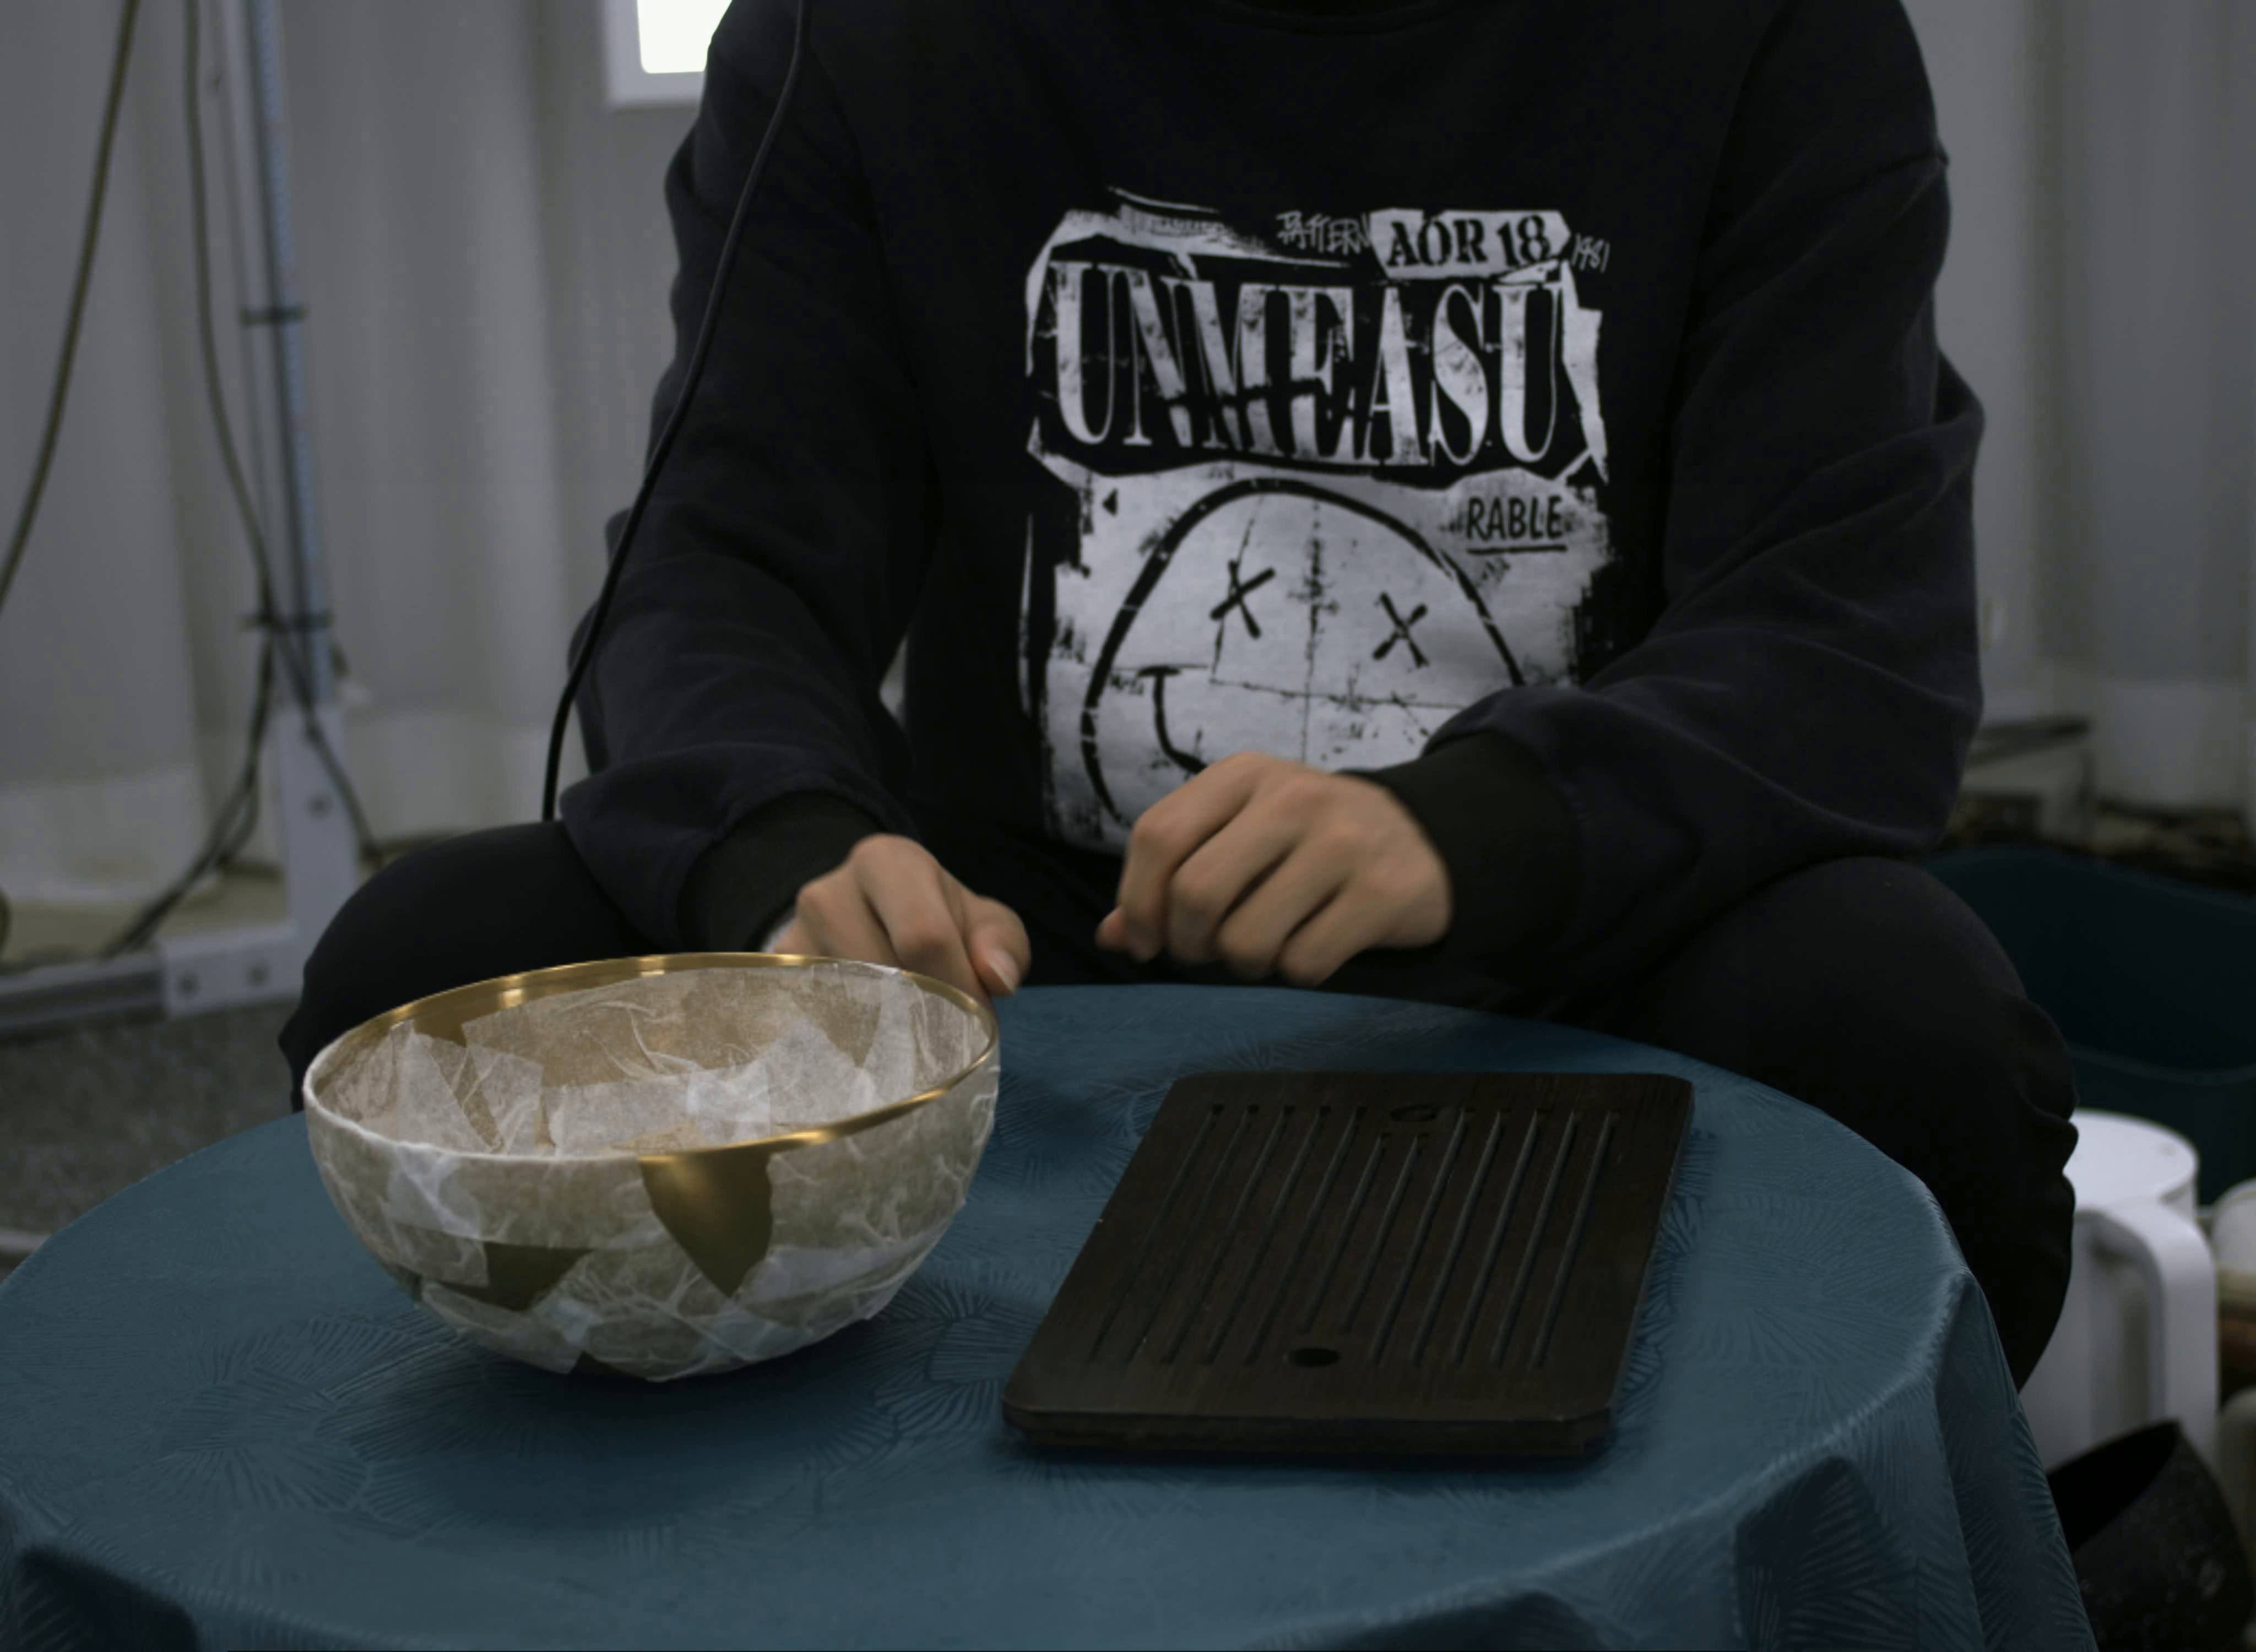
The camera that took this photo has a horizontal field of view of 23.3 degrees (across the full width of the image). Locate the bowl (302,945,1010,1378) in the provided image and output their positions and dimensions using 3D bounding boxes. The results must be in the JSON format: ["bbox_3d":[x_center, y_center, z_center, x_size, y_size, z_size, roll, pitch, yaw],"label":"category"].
[{"bbox_3d":[-0.131,0.106,1.593,0.214,0.094,0.216,-4,14,1],"label":"bowl"}]

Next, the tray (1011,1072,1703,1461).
[{"bbox_3d":[0.076,0.128,1.619,0.170,0.018,0.307,0,15,11],"label":"tray"}]
